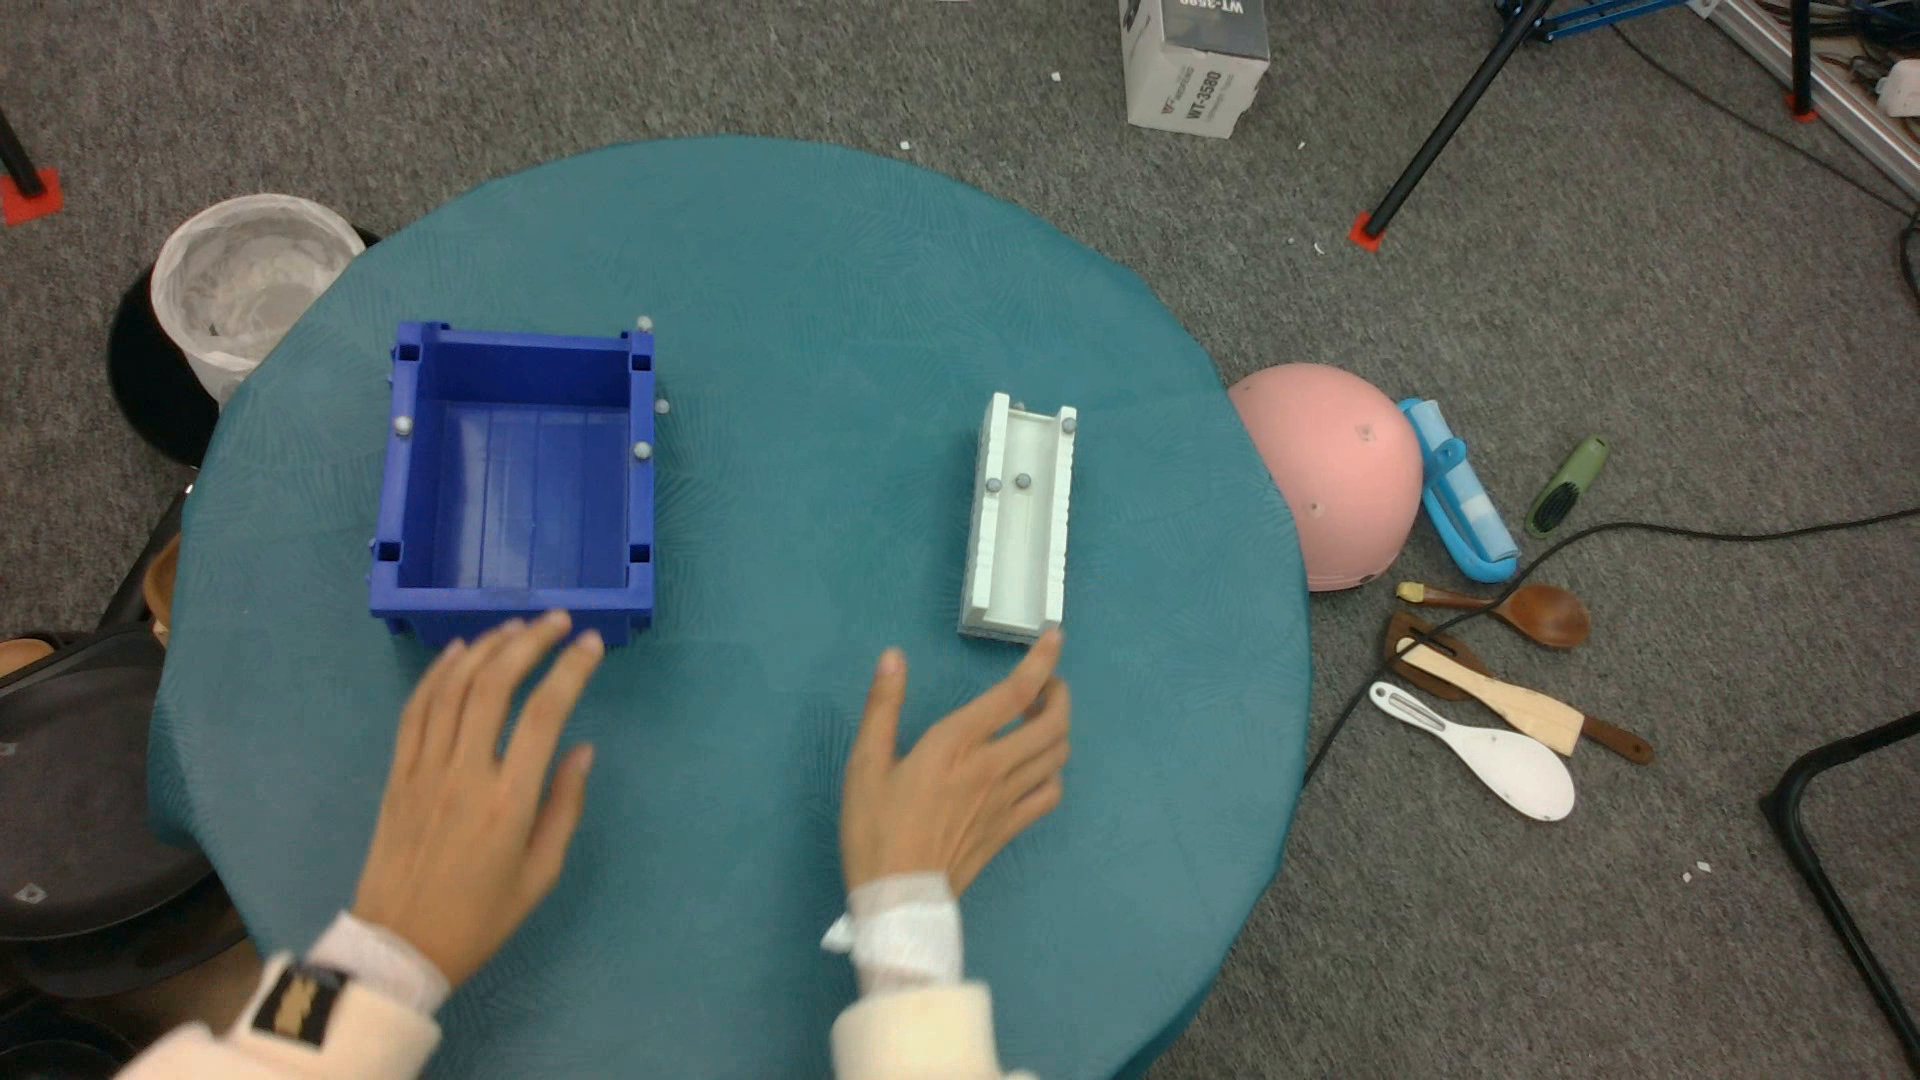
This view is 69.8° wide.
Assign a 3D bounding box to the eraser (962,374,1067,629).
[{"bbox_3d":[0.029,-0.021,0.757,0.050,0.046,0.135,9,62,-12],"label":"eraser"}]

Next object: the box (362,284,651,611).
[{"bbox_3d":[-0.221,-0.052,0.691,0.124,0.081,0.180,2,66,-13],"label":"box"}]
